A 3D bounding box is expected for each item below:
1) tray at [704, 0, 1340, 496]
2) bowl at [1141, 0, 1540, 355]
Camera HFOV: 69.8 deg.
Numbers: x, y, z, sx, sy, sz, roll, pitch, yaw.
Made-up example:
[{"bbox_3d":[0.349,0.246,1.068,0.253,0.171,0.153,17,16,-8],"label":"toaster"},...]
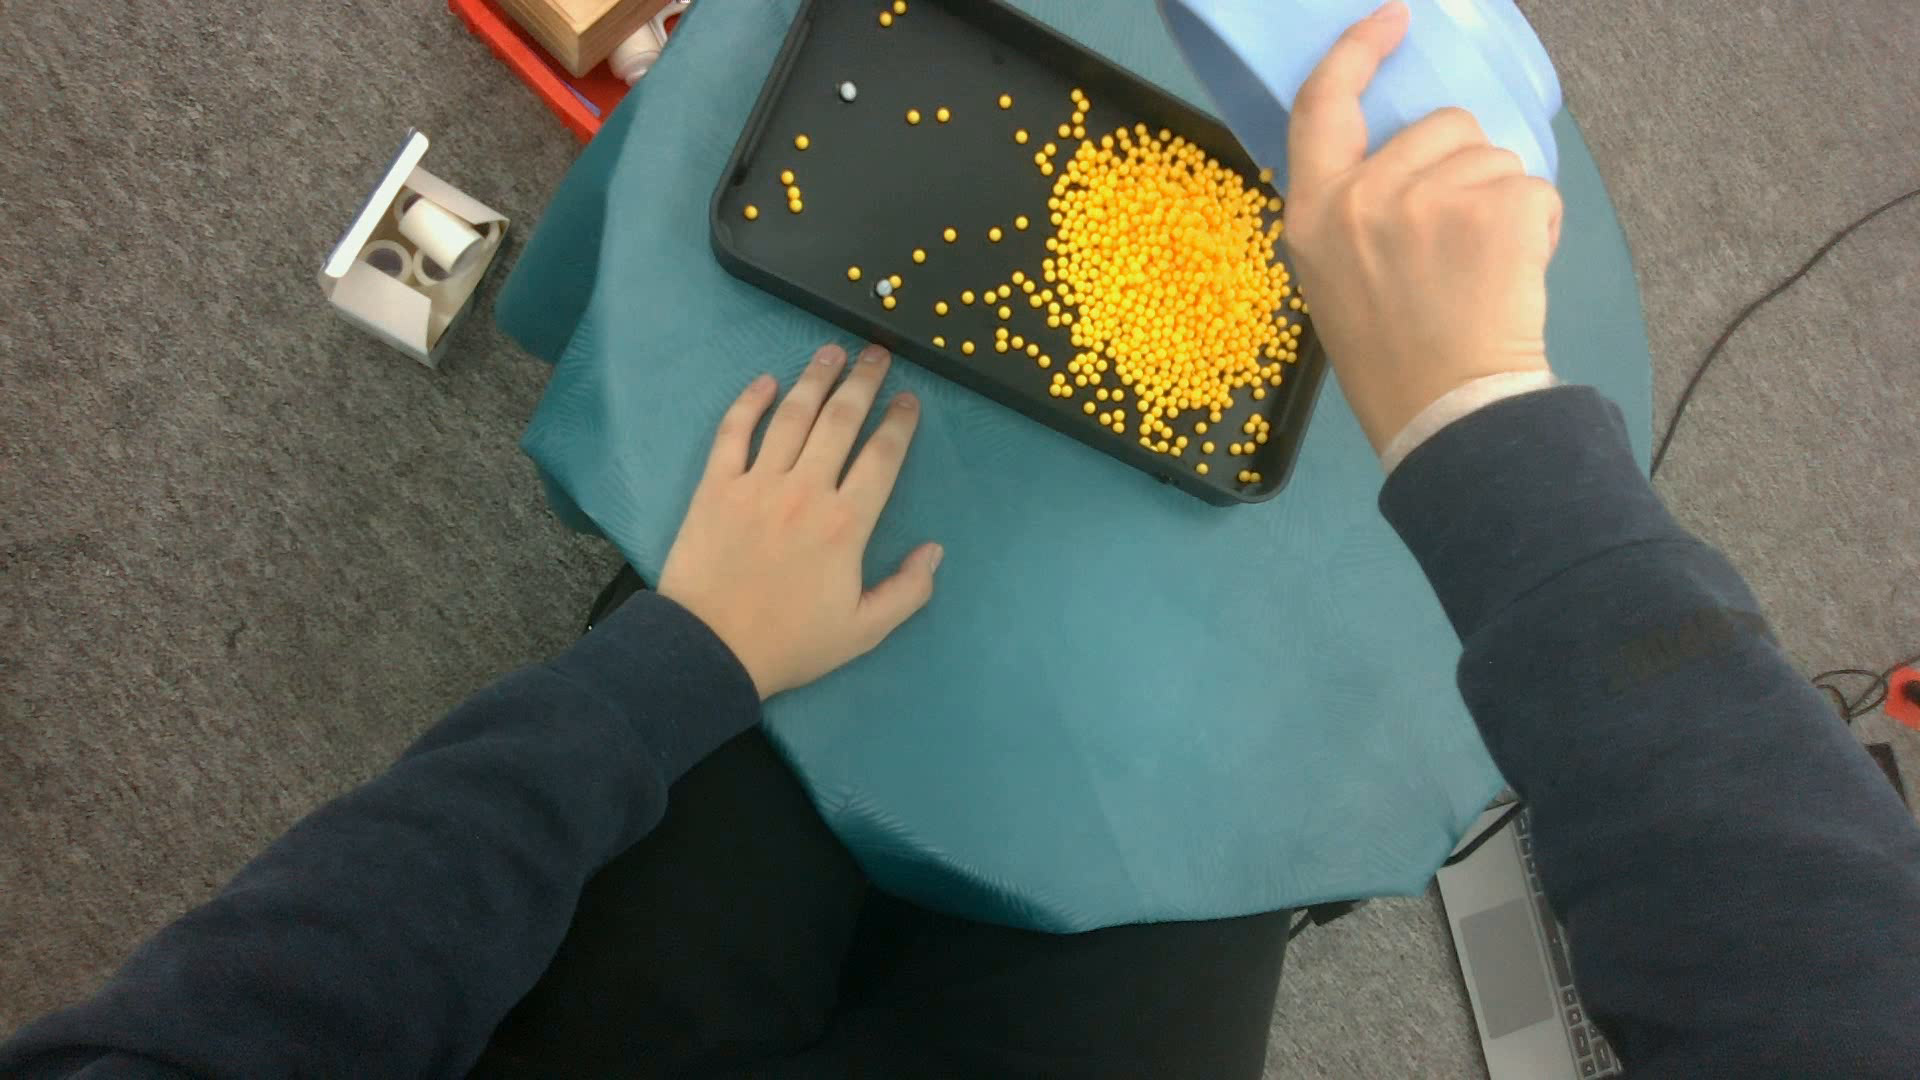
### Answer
[{"bbox_3d":[0.042,-0.157,0.714,0.318,0.037,0.184,22,78,-12],"label":"tray"},{"bbox_3d":[0.176,-0.182,0.584,0.095,0.197,0.196,-41,94,14],"label":"bowl"}]
